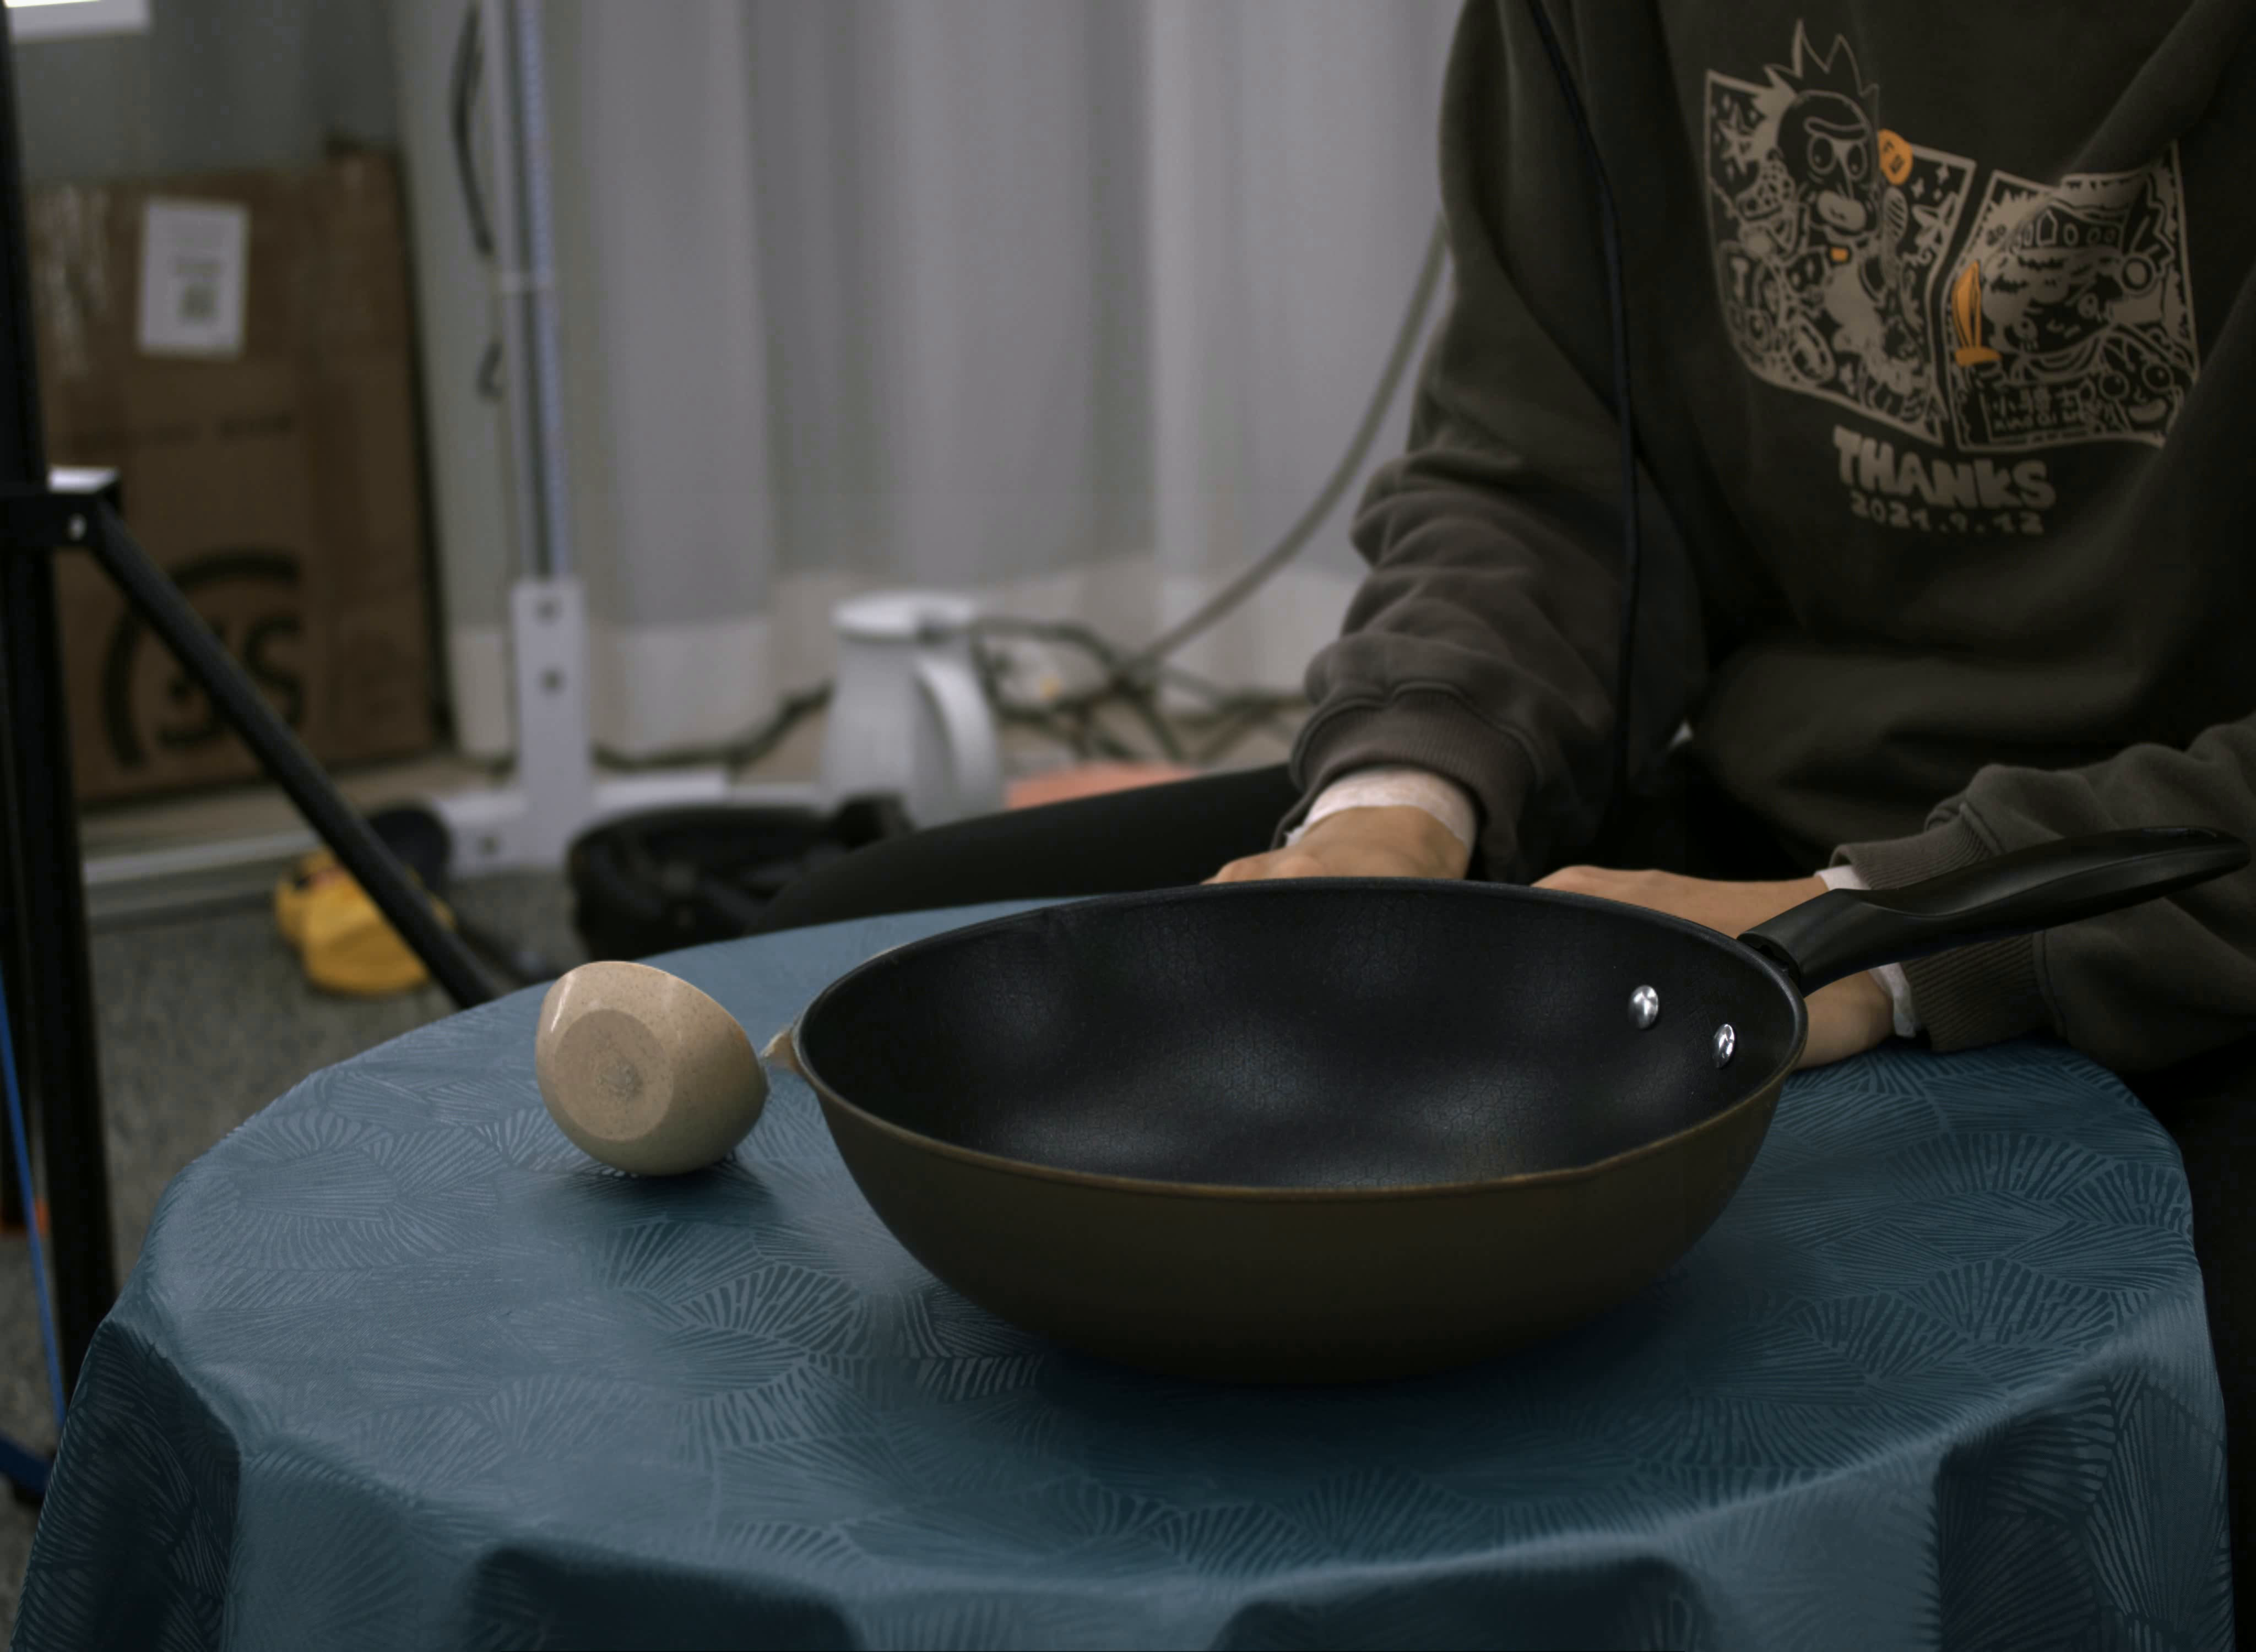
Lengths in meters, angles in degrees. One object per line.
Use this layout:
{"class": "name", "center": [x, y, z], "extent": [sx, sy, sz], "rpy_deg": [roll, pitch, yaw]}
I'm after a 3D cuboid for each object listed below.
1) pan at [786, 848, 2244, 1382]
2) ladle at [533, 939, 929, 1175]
{"class": "pan", "center": [0.126, 0.075, 1.505], "extent": [0.453, 0.087, 0.294], "rpy_deg": [-9, 17, -25]}
{"class": "ladle", "center": [-0.114, 0.042, 1.680], "extent": [0.073, 0.073, 0.252], "rpy_deg": [-3, 15, 19]}
